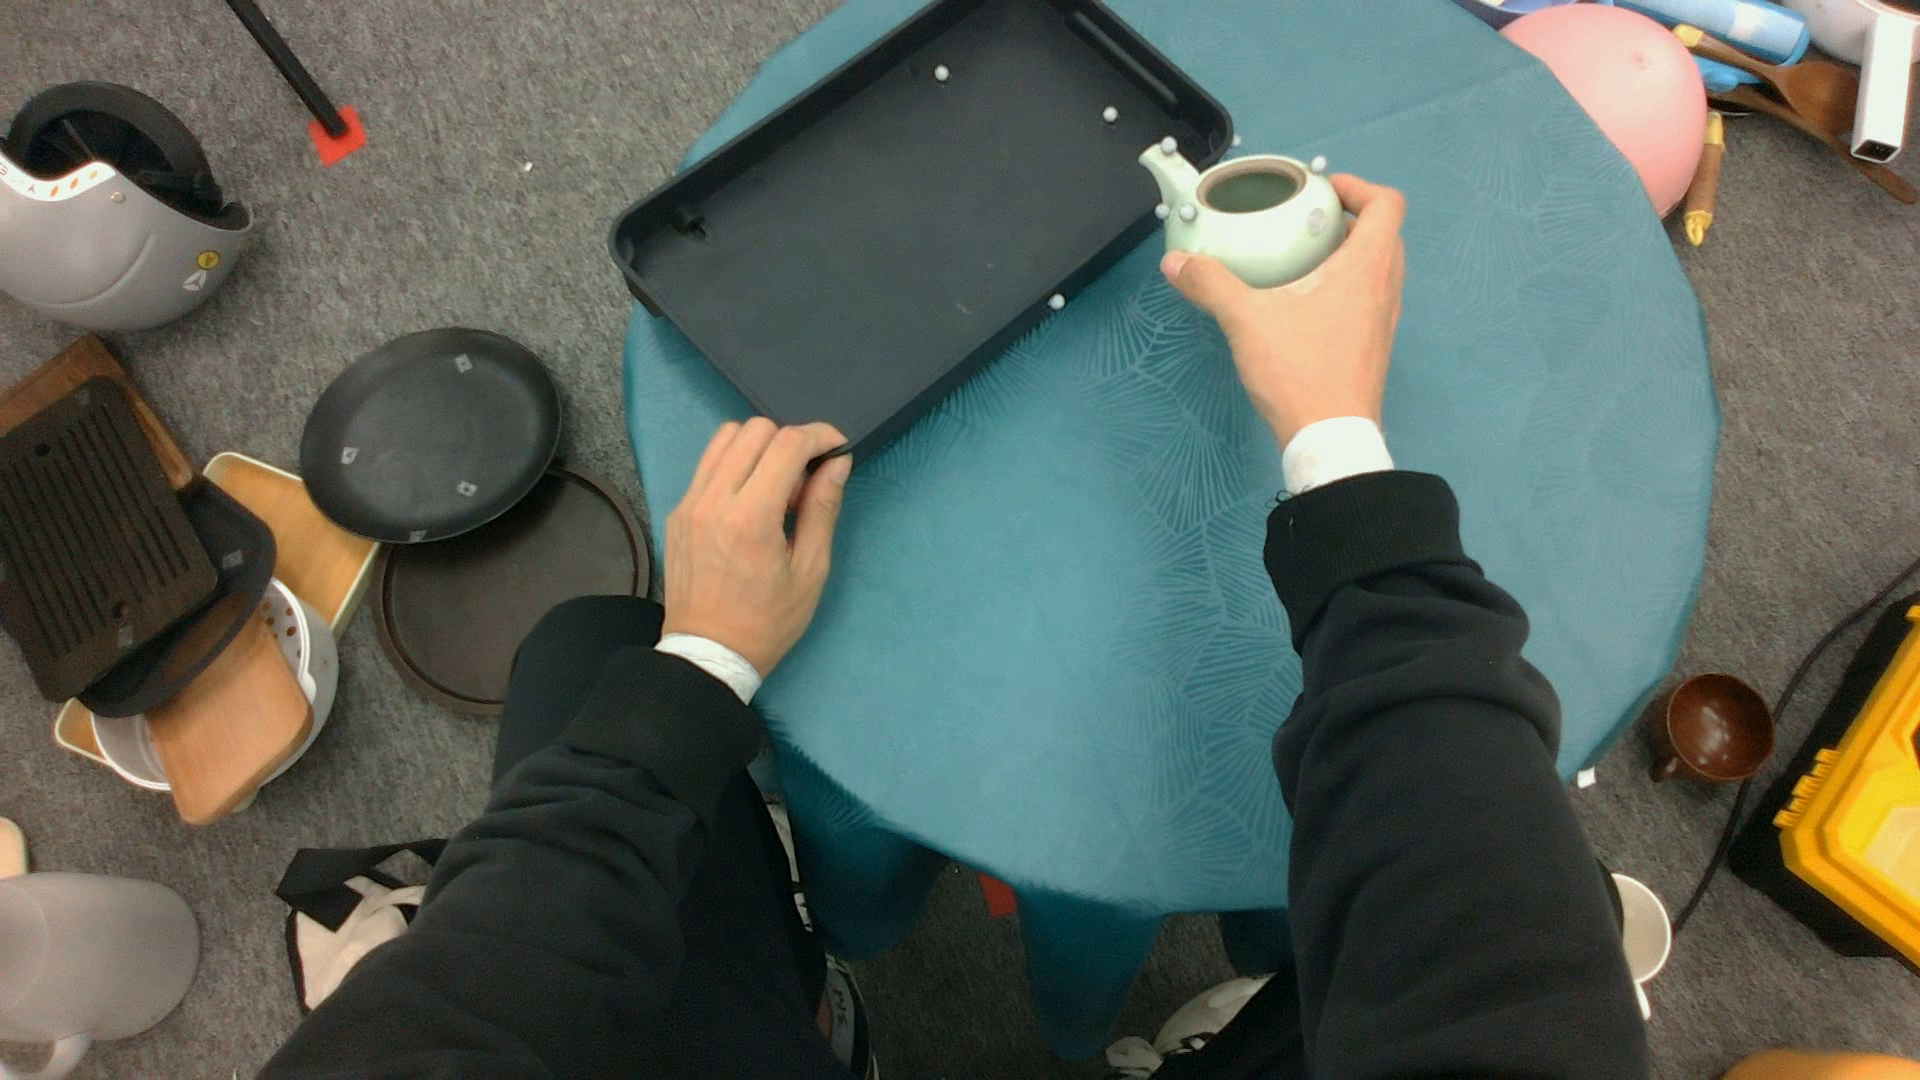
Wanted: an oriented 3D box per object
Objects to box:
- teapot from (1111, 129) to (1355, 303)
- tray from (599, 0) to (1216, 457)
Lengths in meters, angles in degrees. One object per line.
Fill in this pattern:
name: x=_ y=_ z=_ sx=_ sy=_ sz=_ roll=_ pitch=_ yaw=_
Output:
teapot: x=0.135 y=-0.161 z=0.691 sx=0.088 sy=0.074 sz=0.144 roll=-38 pitch=43 yaw=-23
tray: x=-0.023 y=-0.200 z=0.759 sx=0.184 sy=0.037 sz=0.319 roll=43 pitch=71 yaw=14
